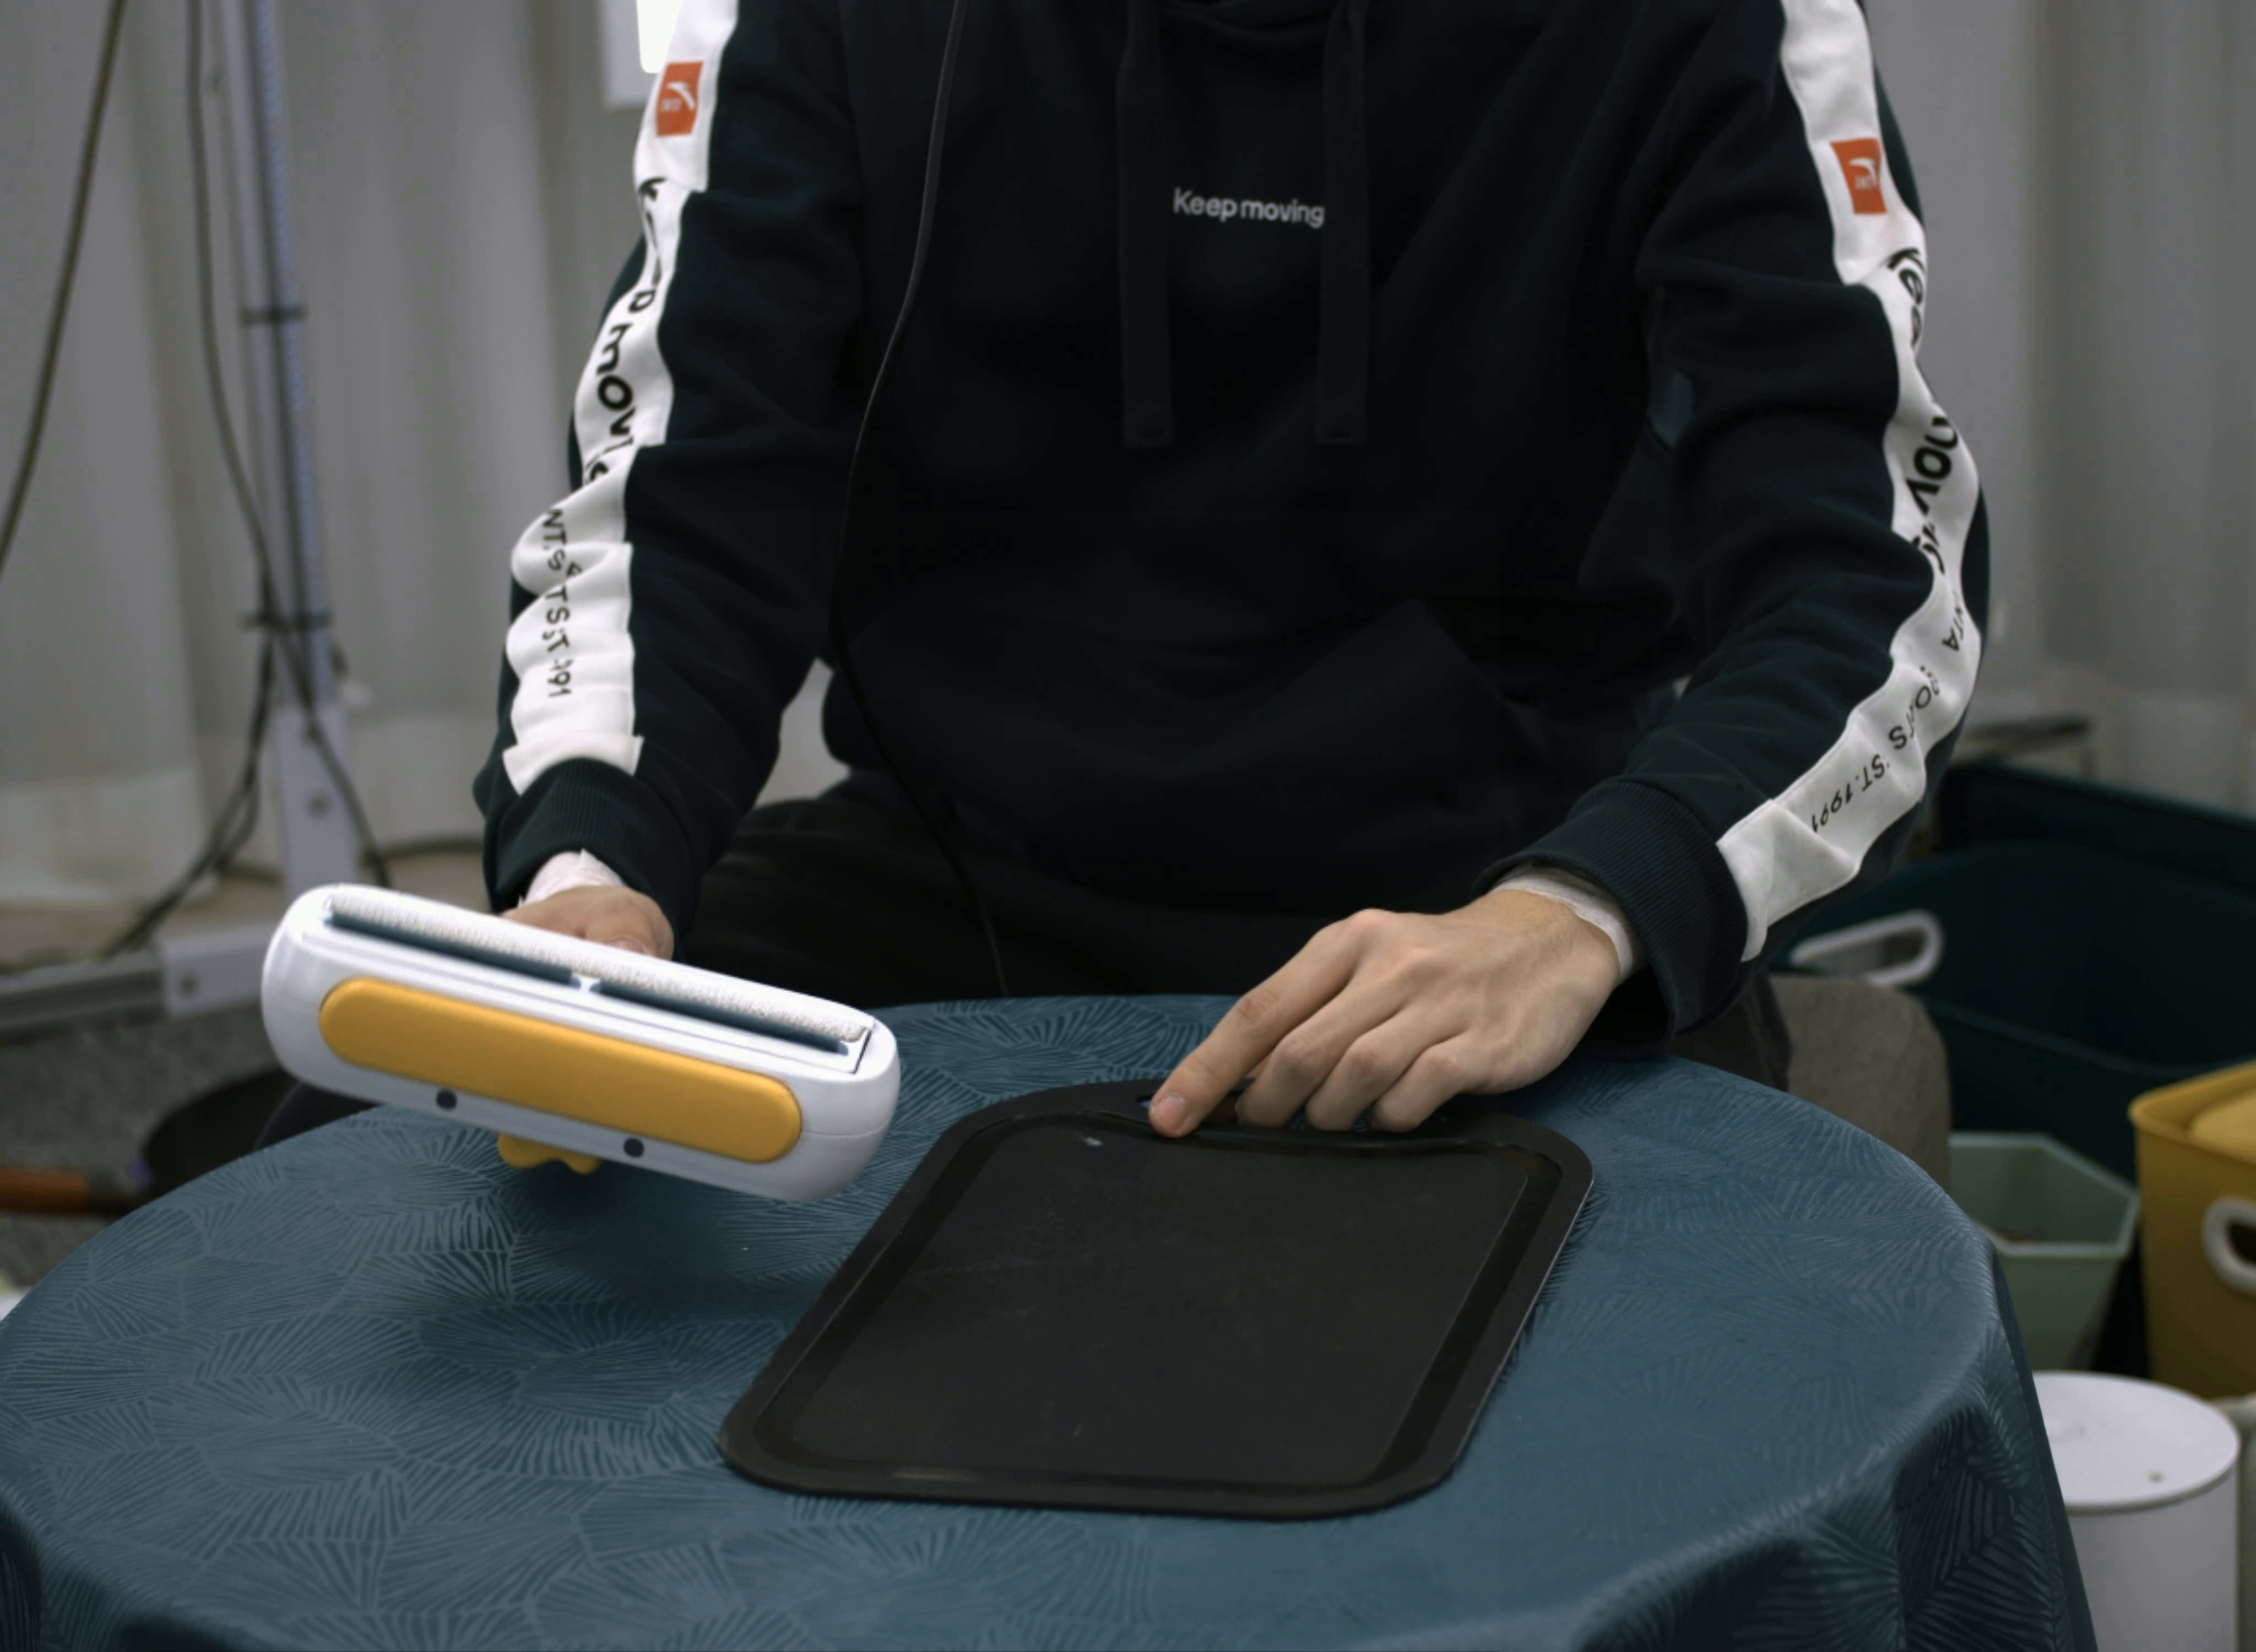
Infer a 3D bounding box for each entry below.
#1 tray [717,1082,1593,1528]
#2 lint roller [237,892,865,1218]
[{"bbox_3d":[0.016,0.132,1.611,0.211,0.010,0.327,2,18,15],"label":"tray"},{"bbox_3d":[-0.167,0.077,1.690,0.192,0.074,0.192,13,-1,8],"label":"lint roller"}]
